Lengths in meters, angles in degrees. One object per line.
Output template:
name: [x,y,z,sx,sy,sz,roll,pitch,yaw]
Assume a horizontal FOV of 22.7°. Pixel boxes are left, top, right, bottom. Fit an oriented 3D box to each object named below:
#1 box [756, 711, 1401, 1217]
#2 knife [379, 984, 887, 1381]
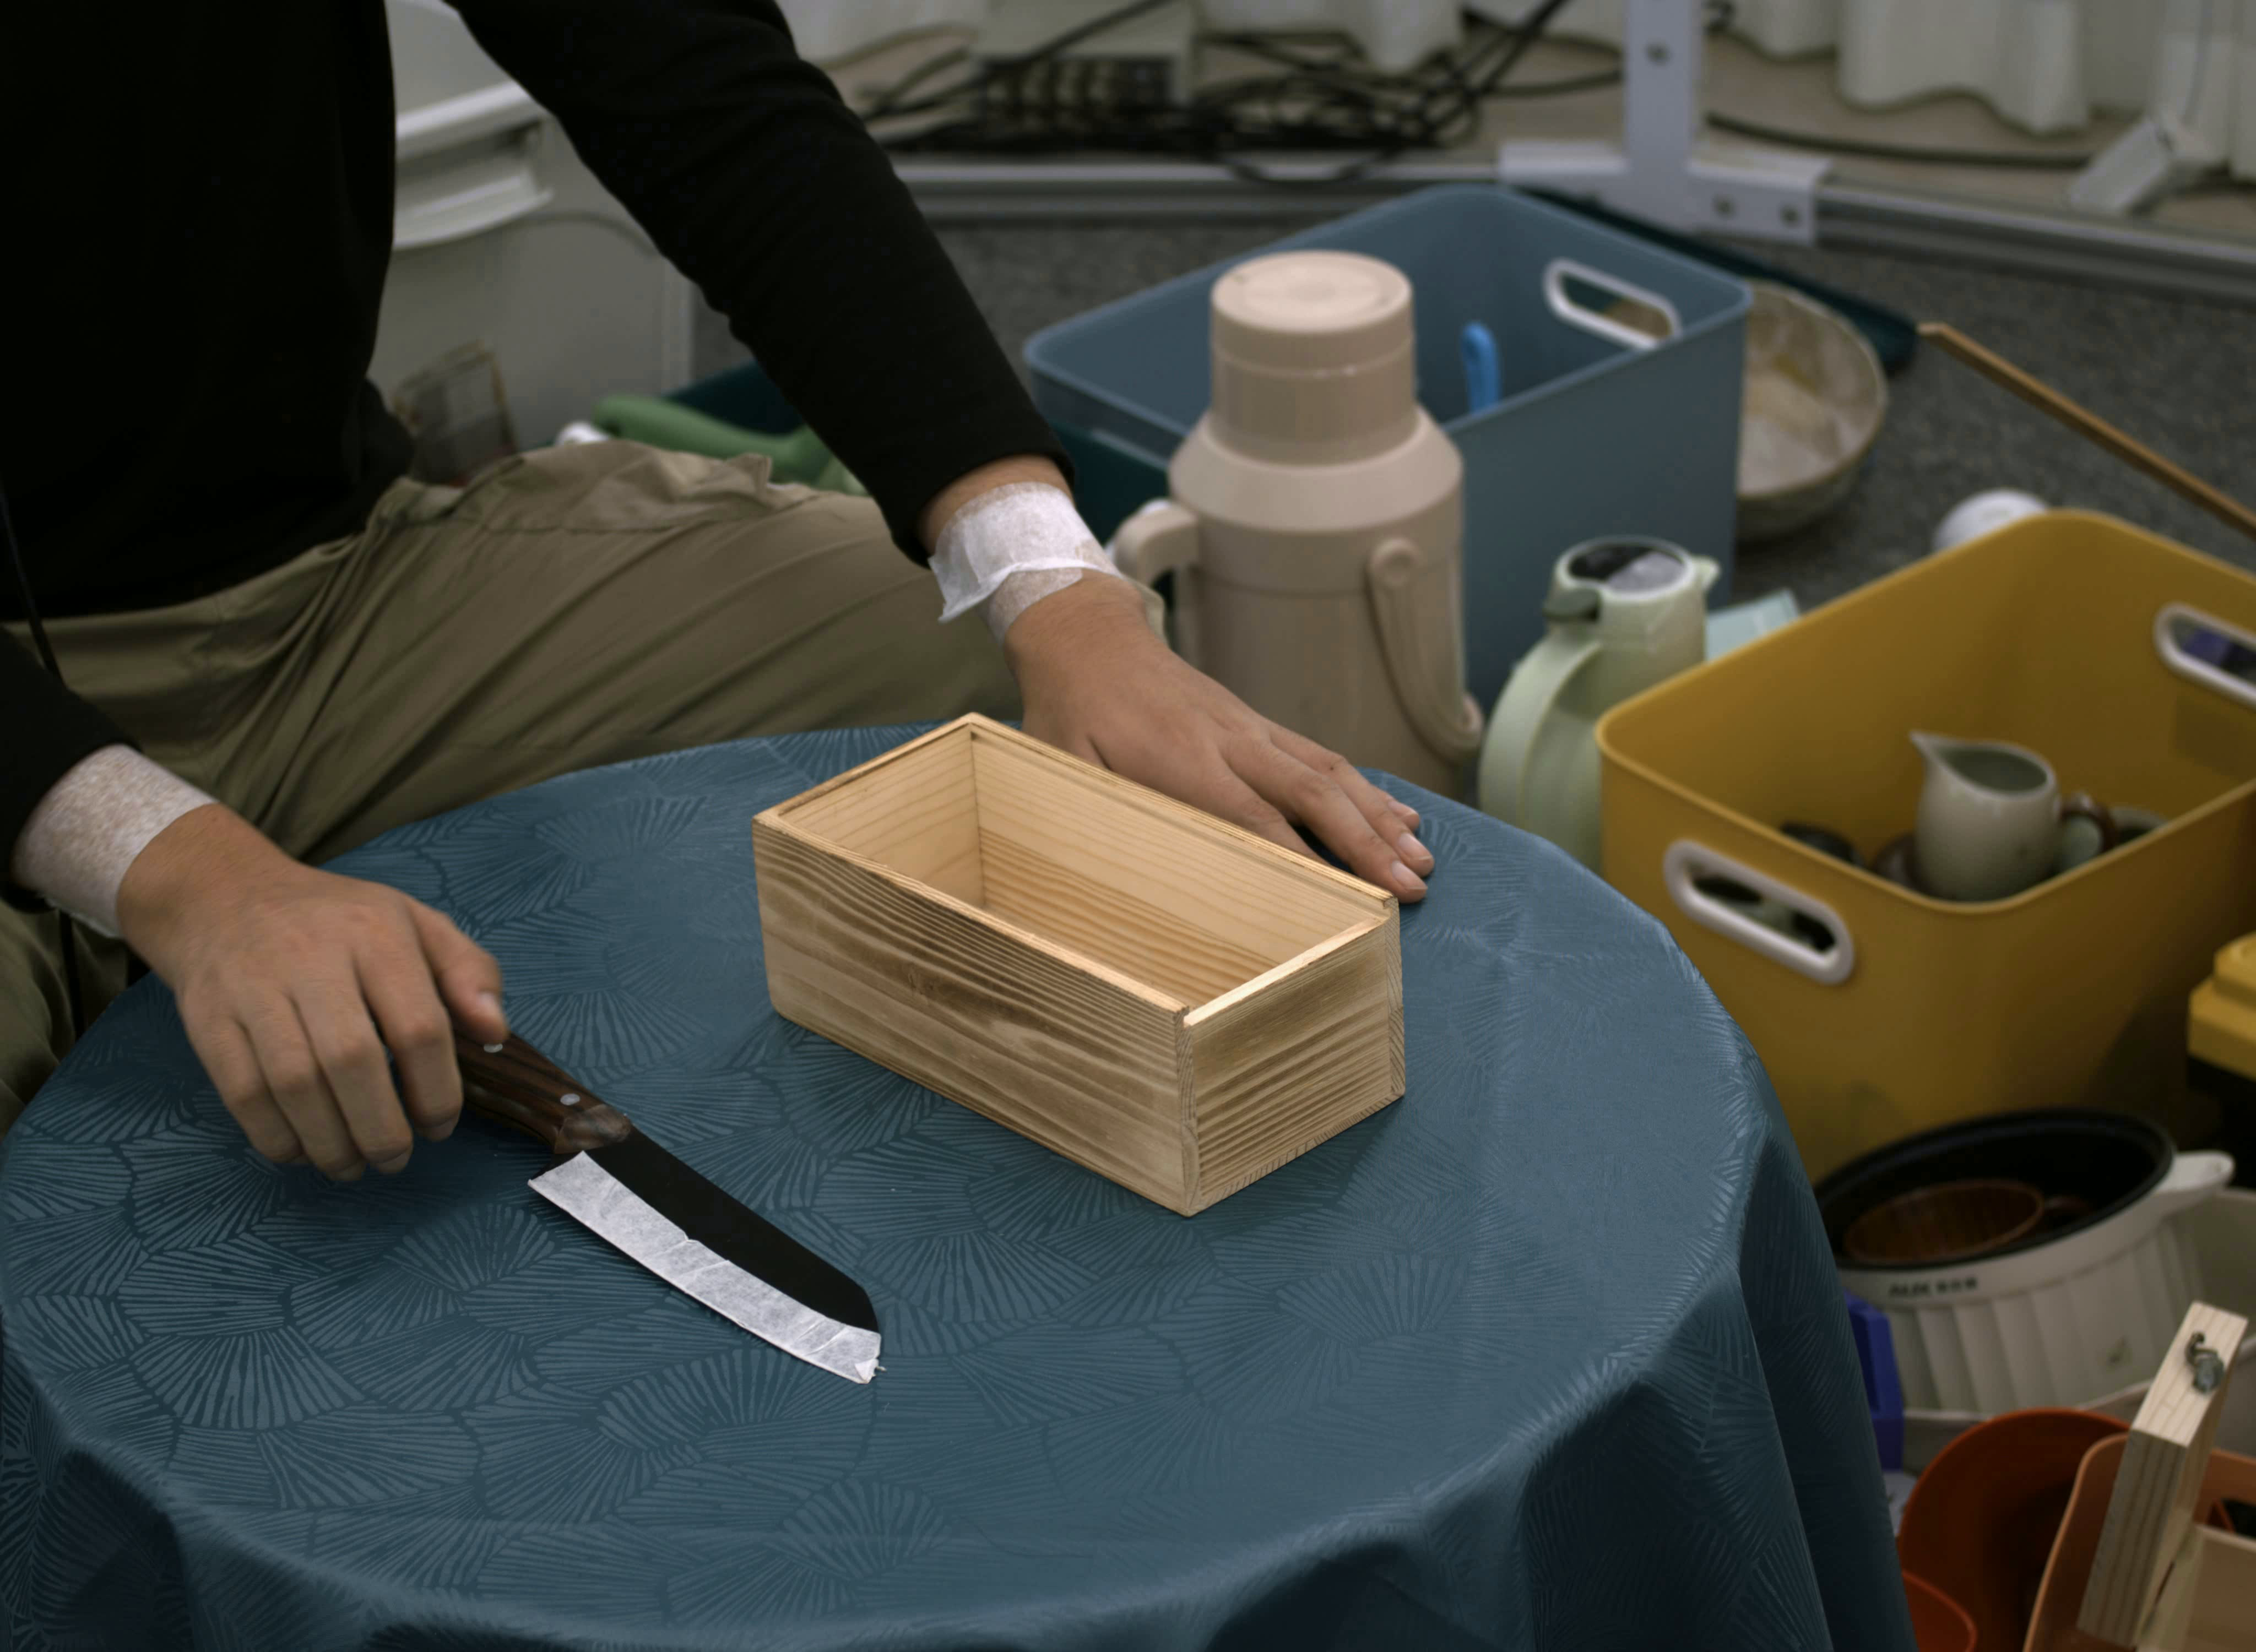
box: [-0.018,0.044,1.928,0.109,0.079,0.211,-25,35,-38]
knife: [-0.167,0.119,1.868,0.051,0.020,0.290,-26,37,-29]
